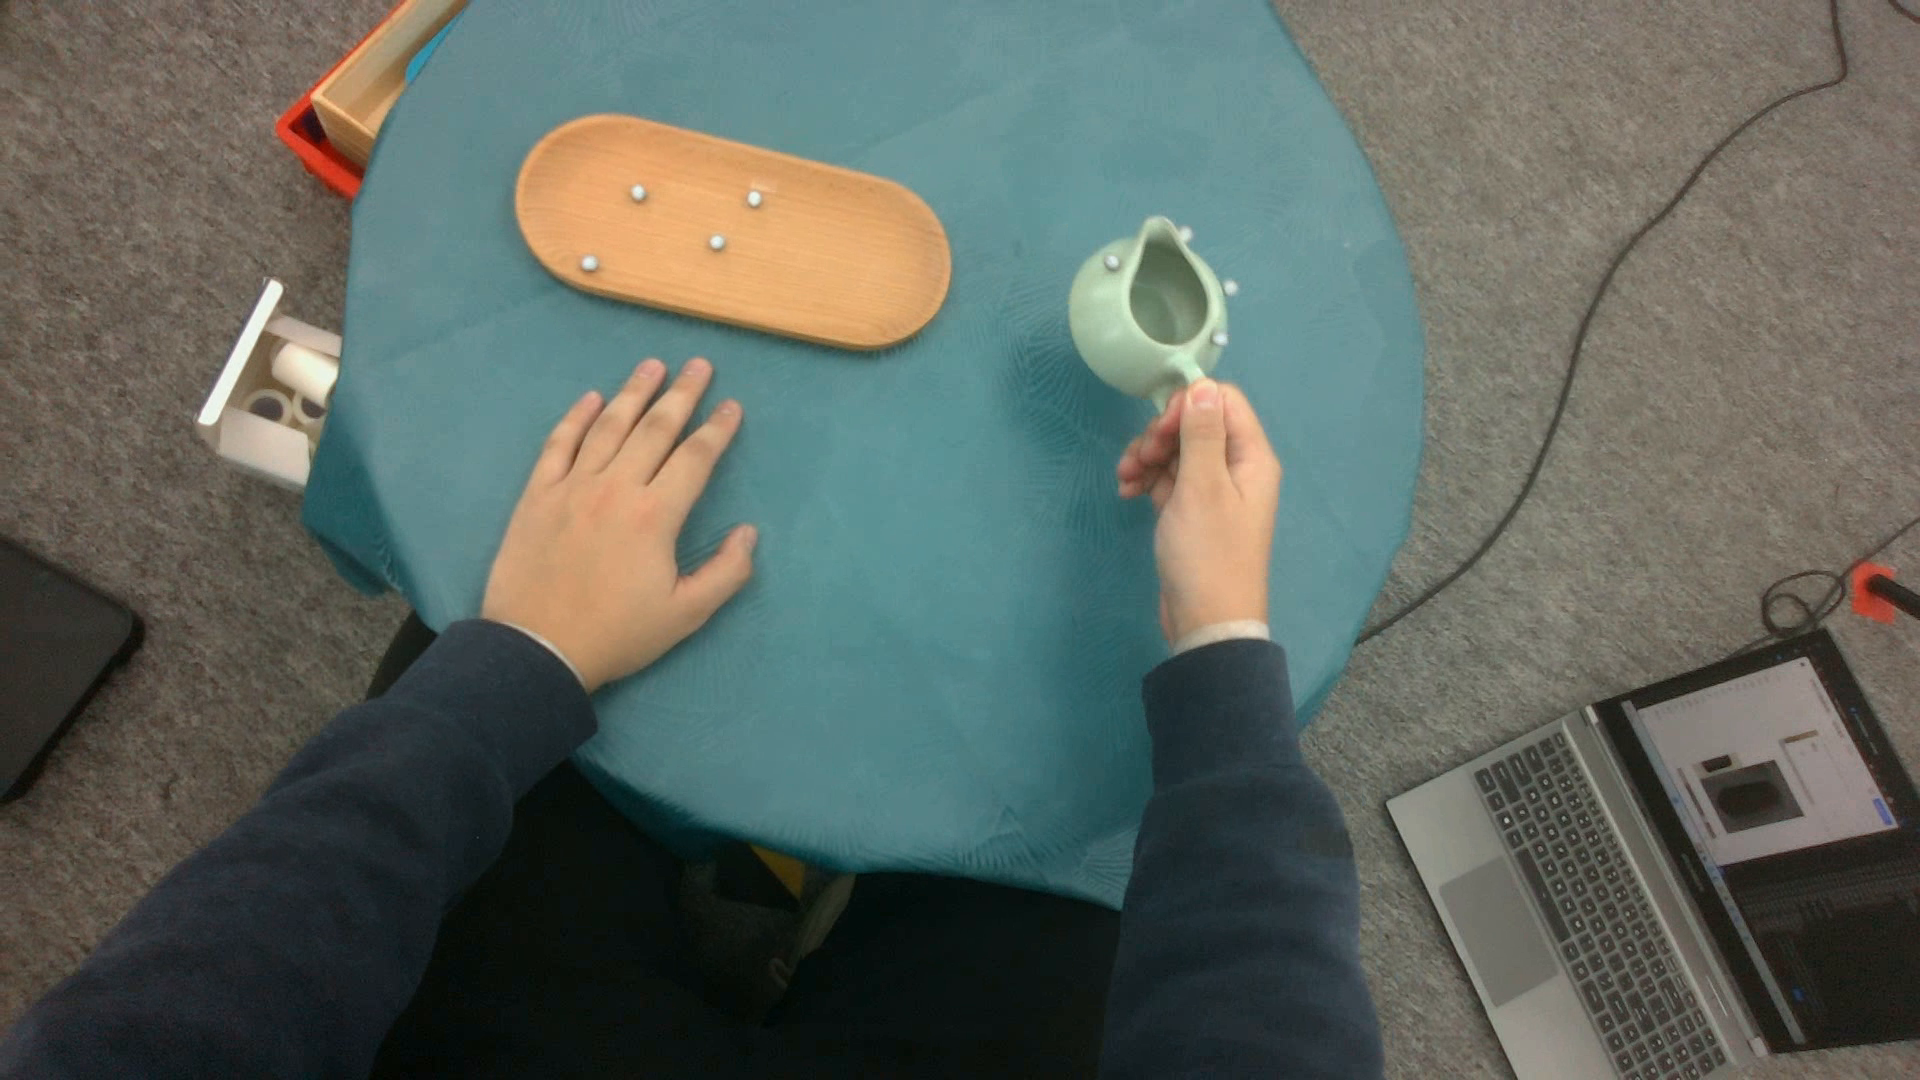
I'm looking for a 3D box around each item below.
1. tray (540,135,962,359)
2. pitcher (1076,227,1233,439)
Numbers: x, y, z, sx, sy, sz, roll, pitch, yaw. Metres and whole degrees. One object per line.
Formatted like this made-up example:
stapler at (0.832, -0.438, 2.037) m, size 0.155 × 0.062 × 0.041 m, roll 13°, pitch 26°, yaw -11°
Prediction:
tray at (-0.113, -0.160, 0.760) m, size 0.231 × 0.020 × 0.102 m, roll 11°, pitch 75°, yaw -10°
pitcher at (0.108, -0.105, 0.722) m, size 0.086 × 0.060 × 0.108 m, roll -11°, pitch 86°, yaw -14°
